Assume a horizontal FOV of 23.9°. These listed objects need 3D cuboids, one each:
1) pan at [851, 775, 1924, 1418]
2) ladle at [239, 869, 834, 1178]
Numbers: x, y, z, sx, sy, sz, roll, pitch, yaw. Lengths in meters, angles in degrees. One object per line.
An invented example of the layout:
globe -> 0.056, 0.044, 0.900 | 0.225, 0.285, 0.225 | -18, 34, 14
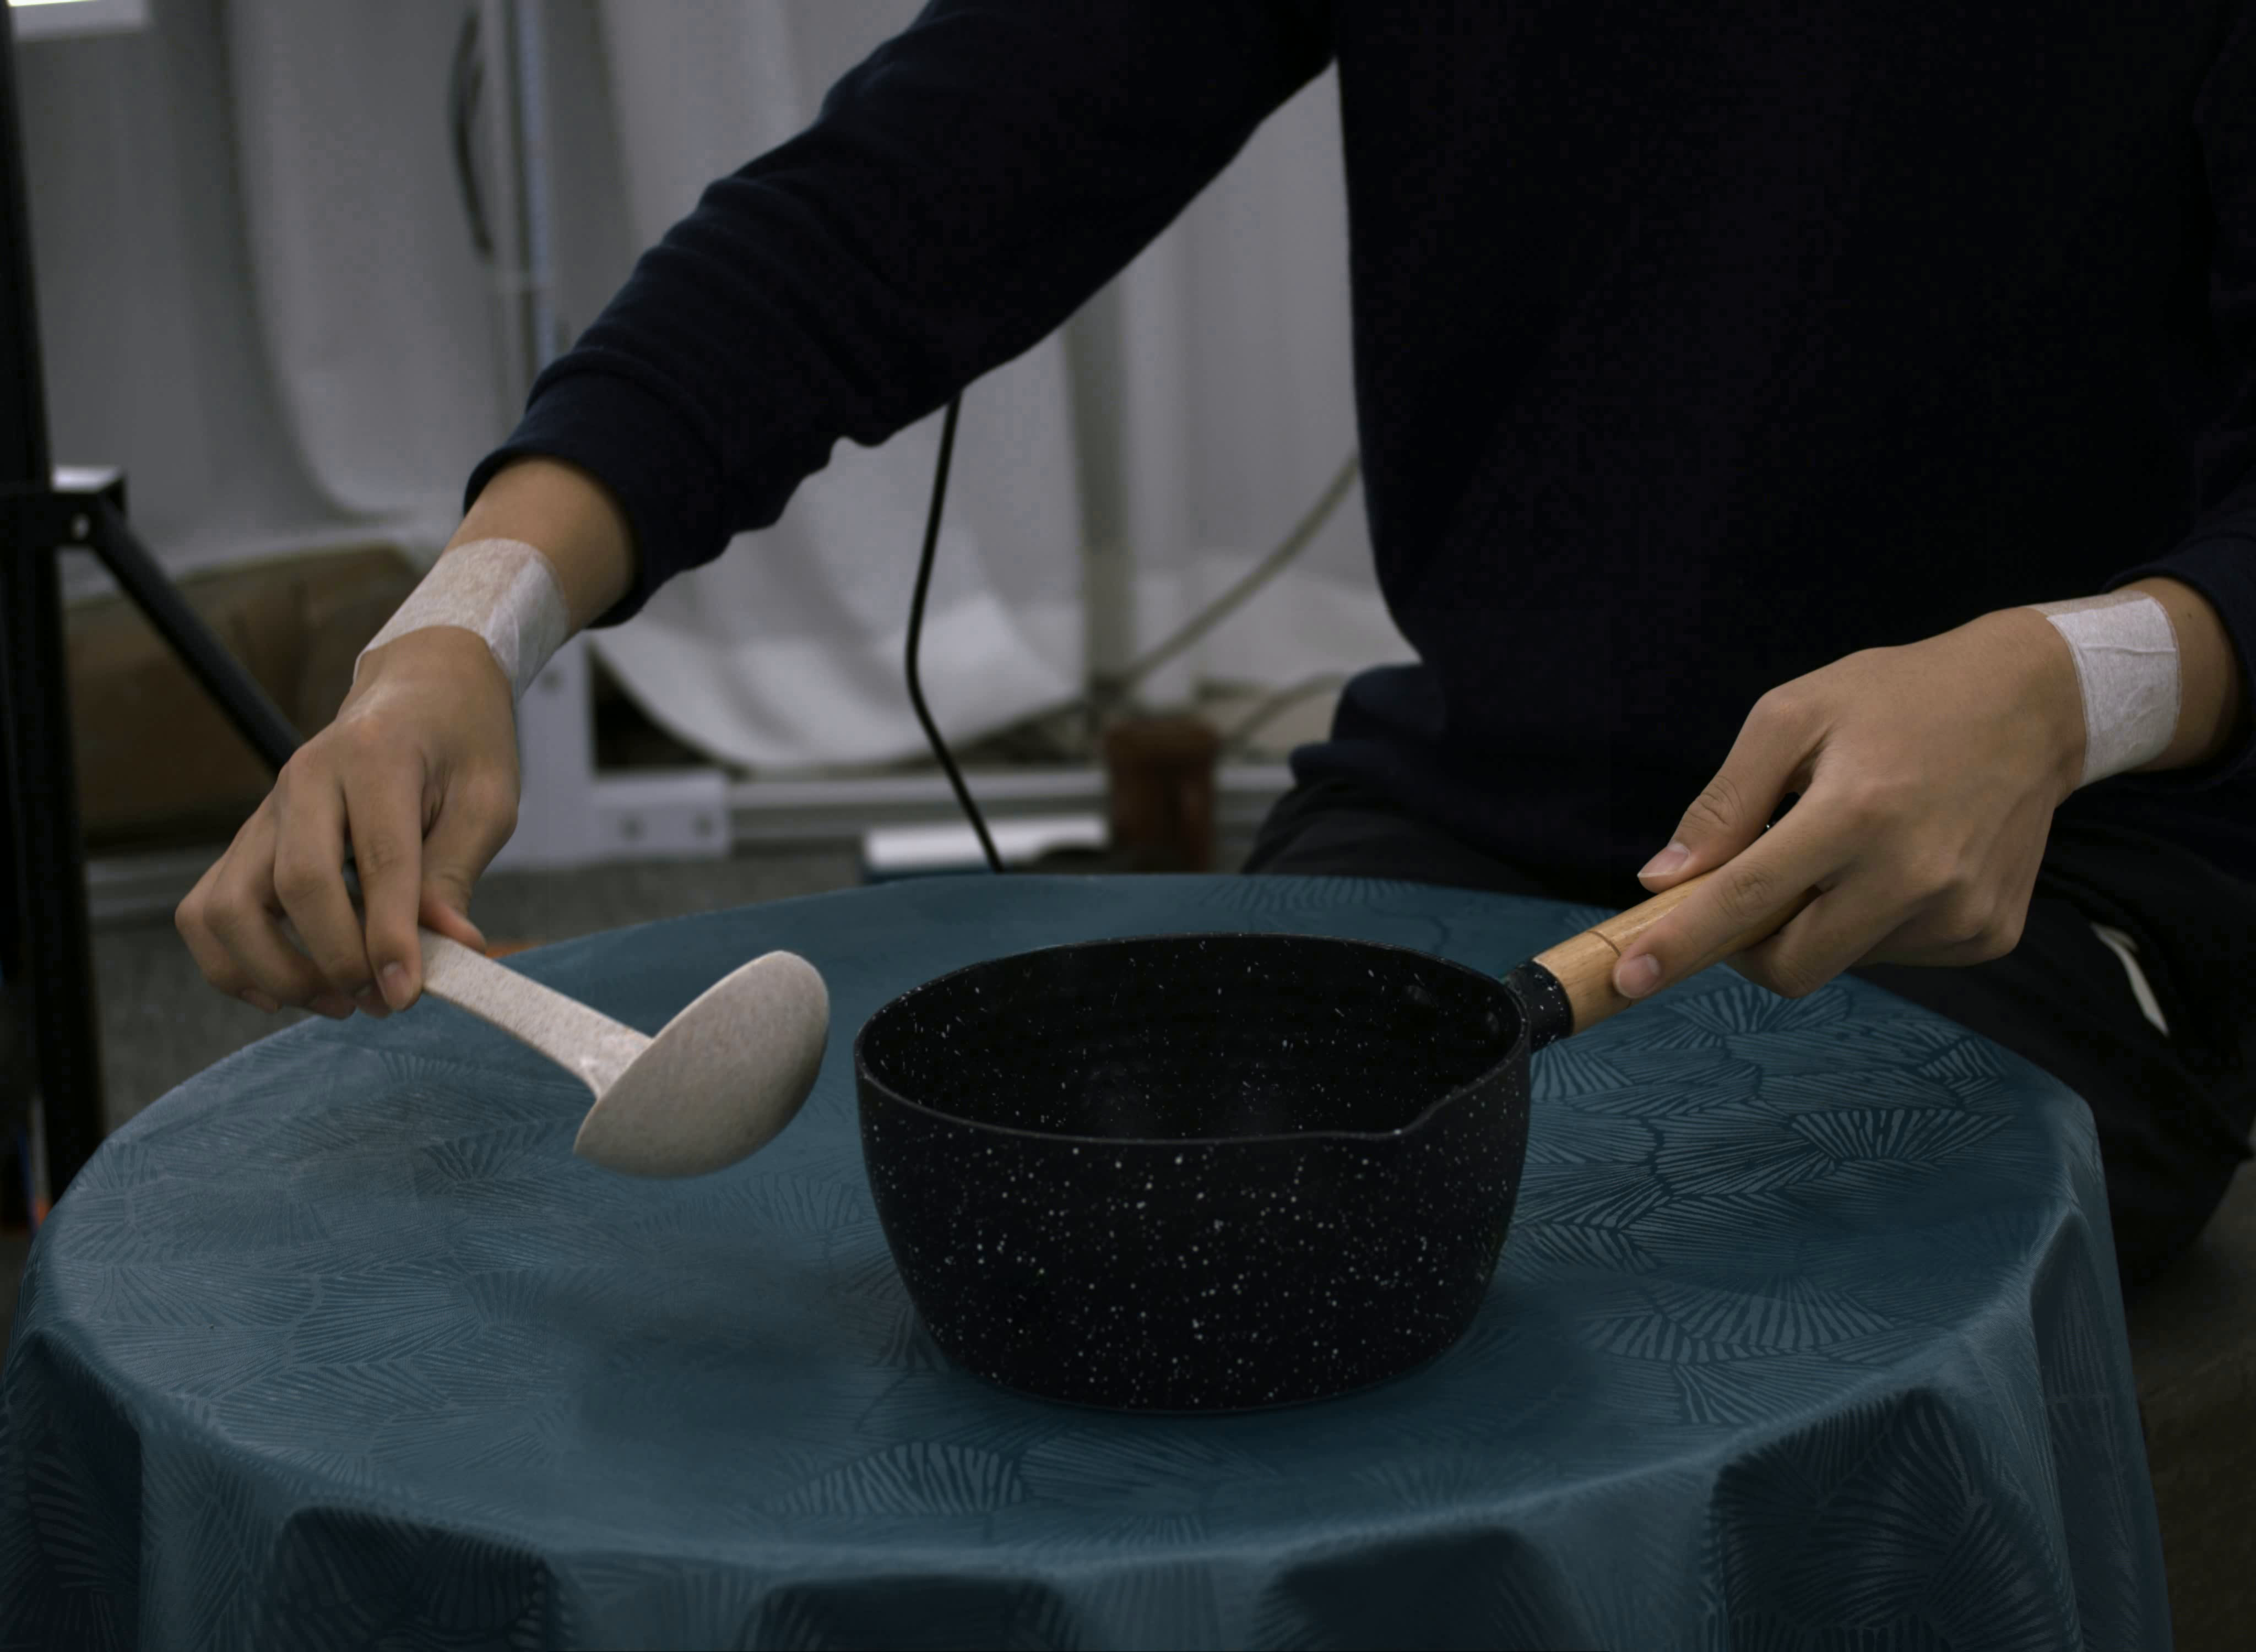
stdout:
pan -> 0.085, 0.070, 1.480 | 0.335, 0.108, 0.212 | -13, 18, -29
ladle -> -0.188, 0.032, 1.538 | 0.088, 0.068, 0.281 | -41, 39, -24
